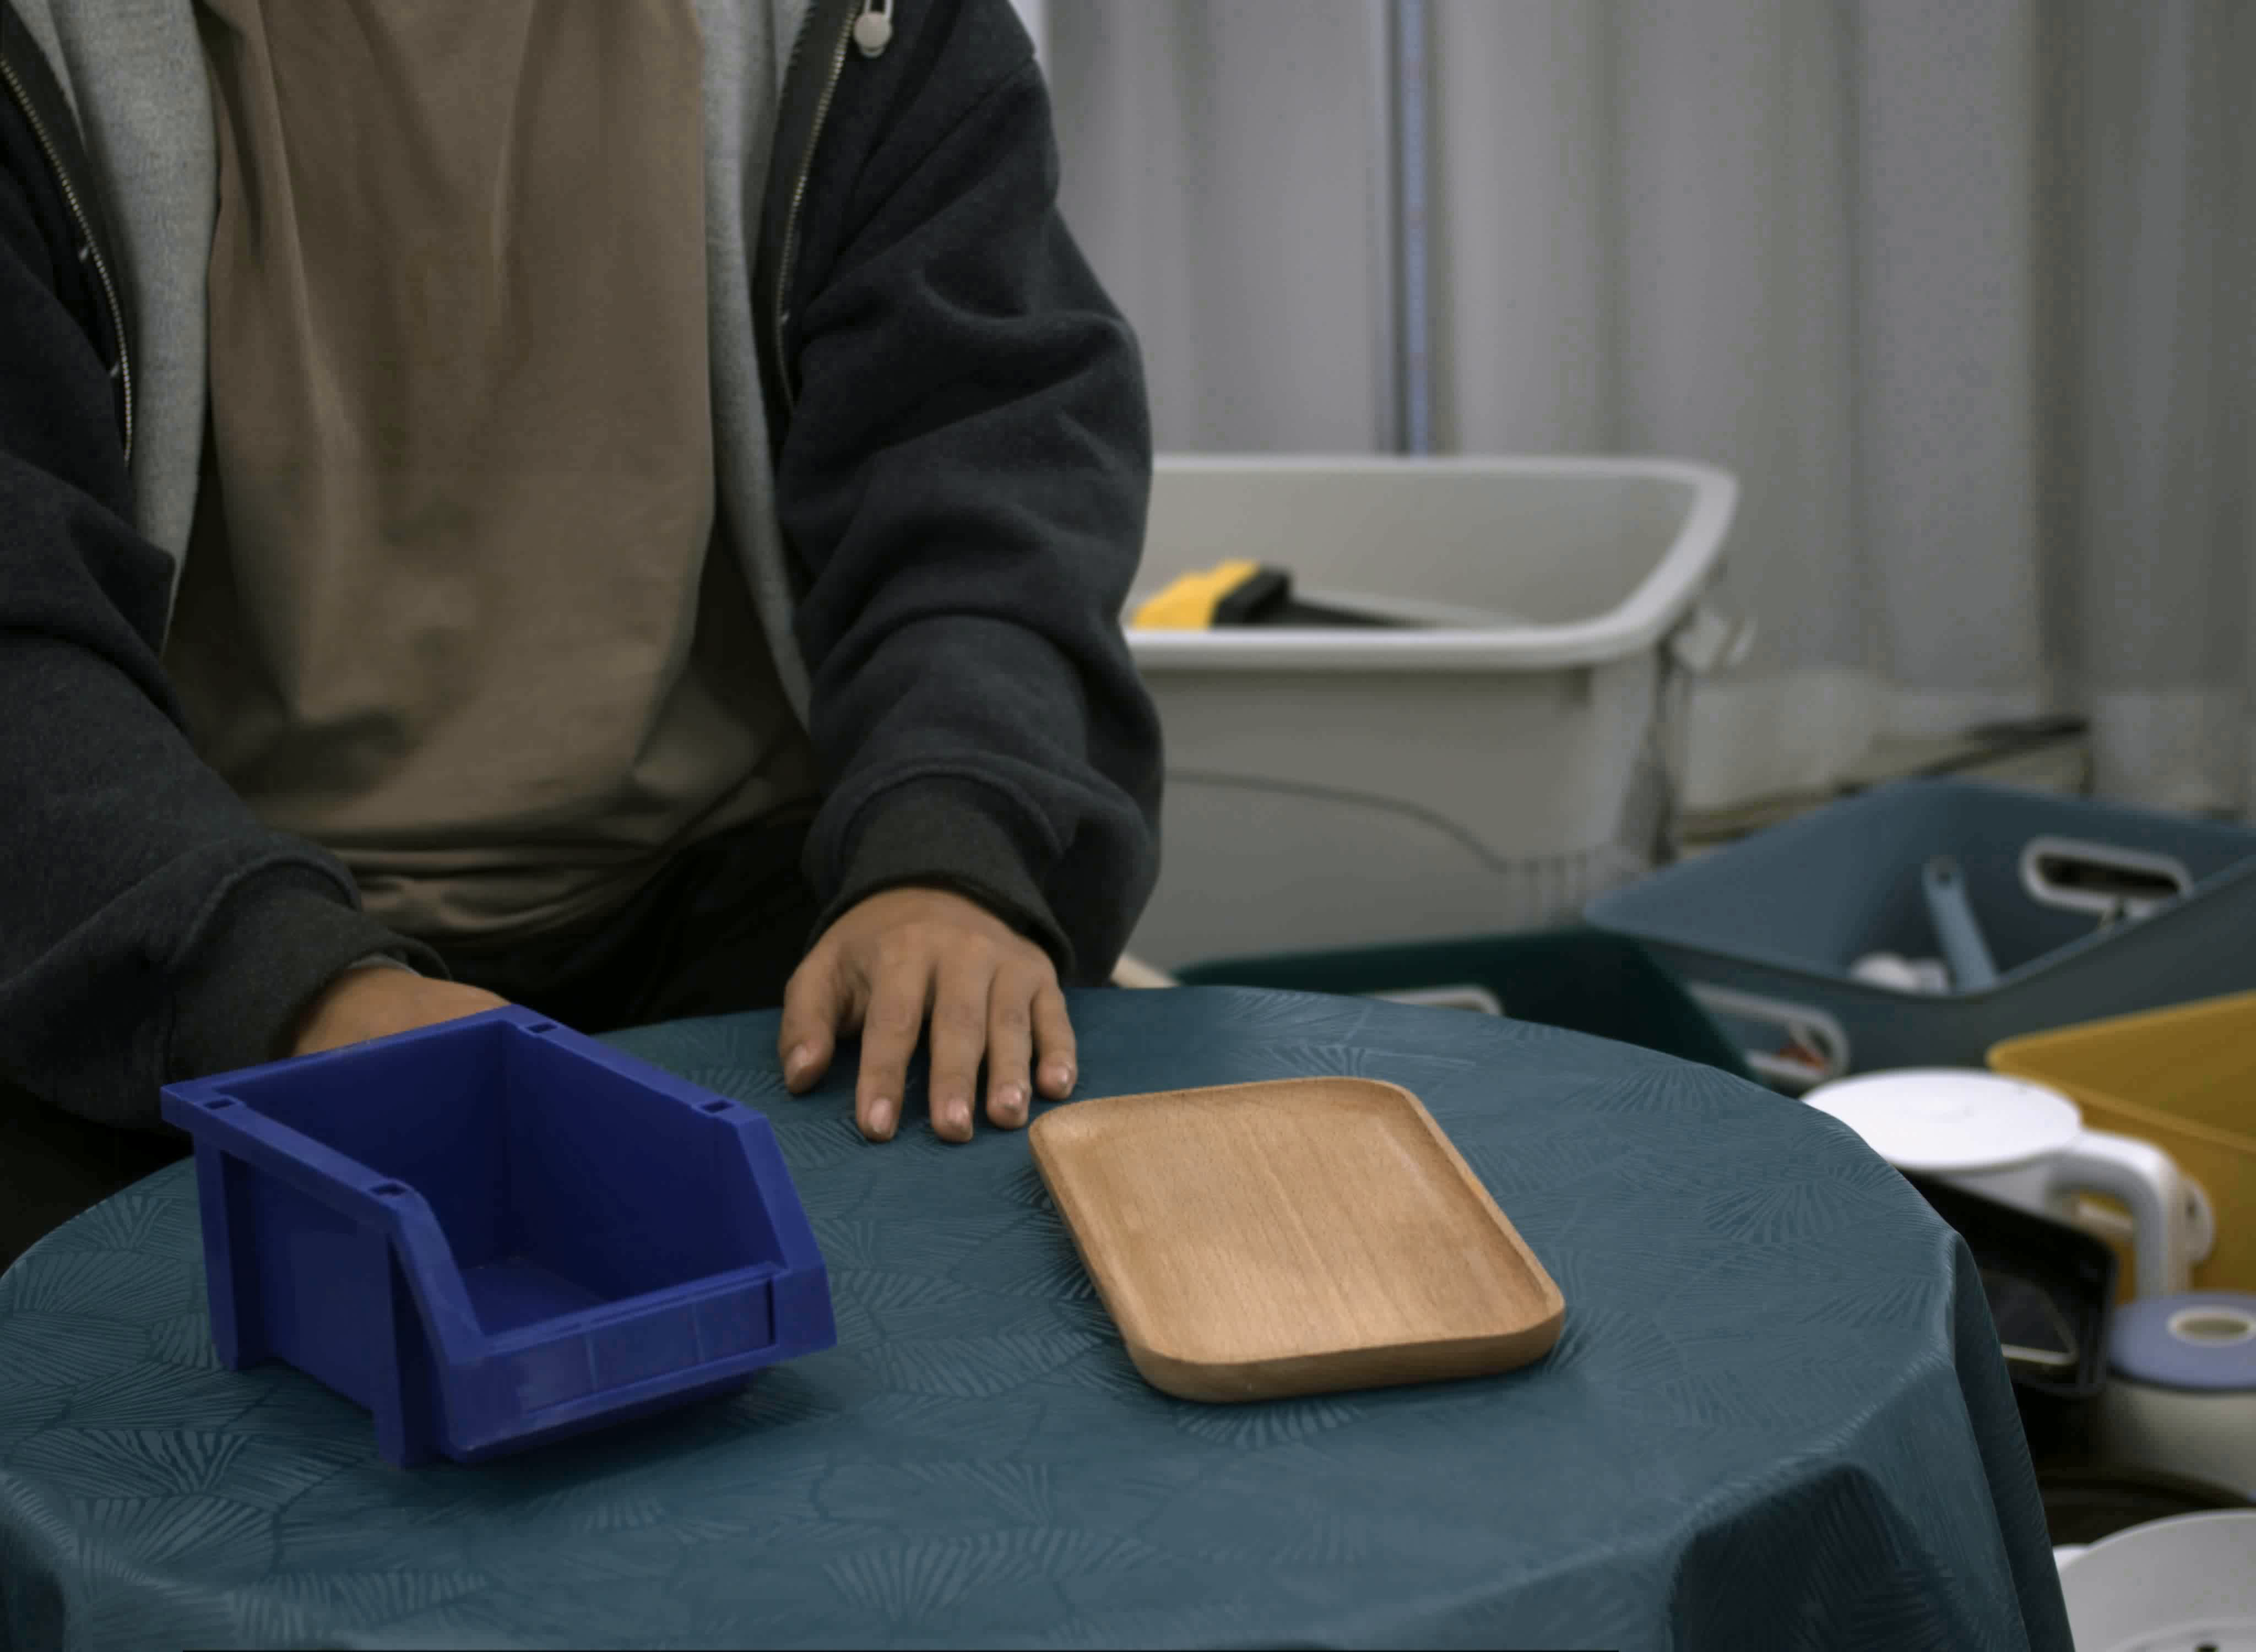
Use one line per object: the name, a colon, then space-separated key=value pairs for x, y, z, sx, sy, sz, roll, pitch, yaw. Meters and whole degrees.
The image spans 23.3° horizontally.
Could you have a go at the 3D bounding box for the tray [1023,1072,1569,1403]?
tray: x=0.046 y=0.121 z=1.648 sx=0.130 sy=0.023 sz=0.252 roll=-3 pitch=14 yaw=-9

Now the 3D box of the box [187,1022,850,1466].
box: x=-0.175 y=0.121 z=1.569 sx=0.124 sy=0.081 sz=0.180 roll=-11 pitch=13 yaw=-31
